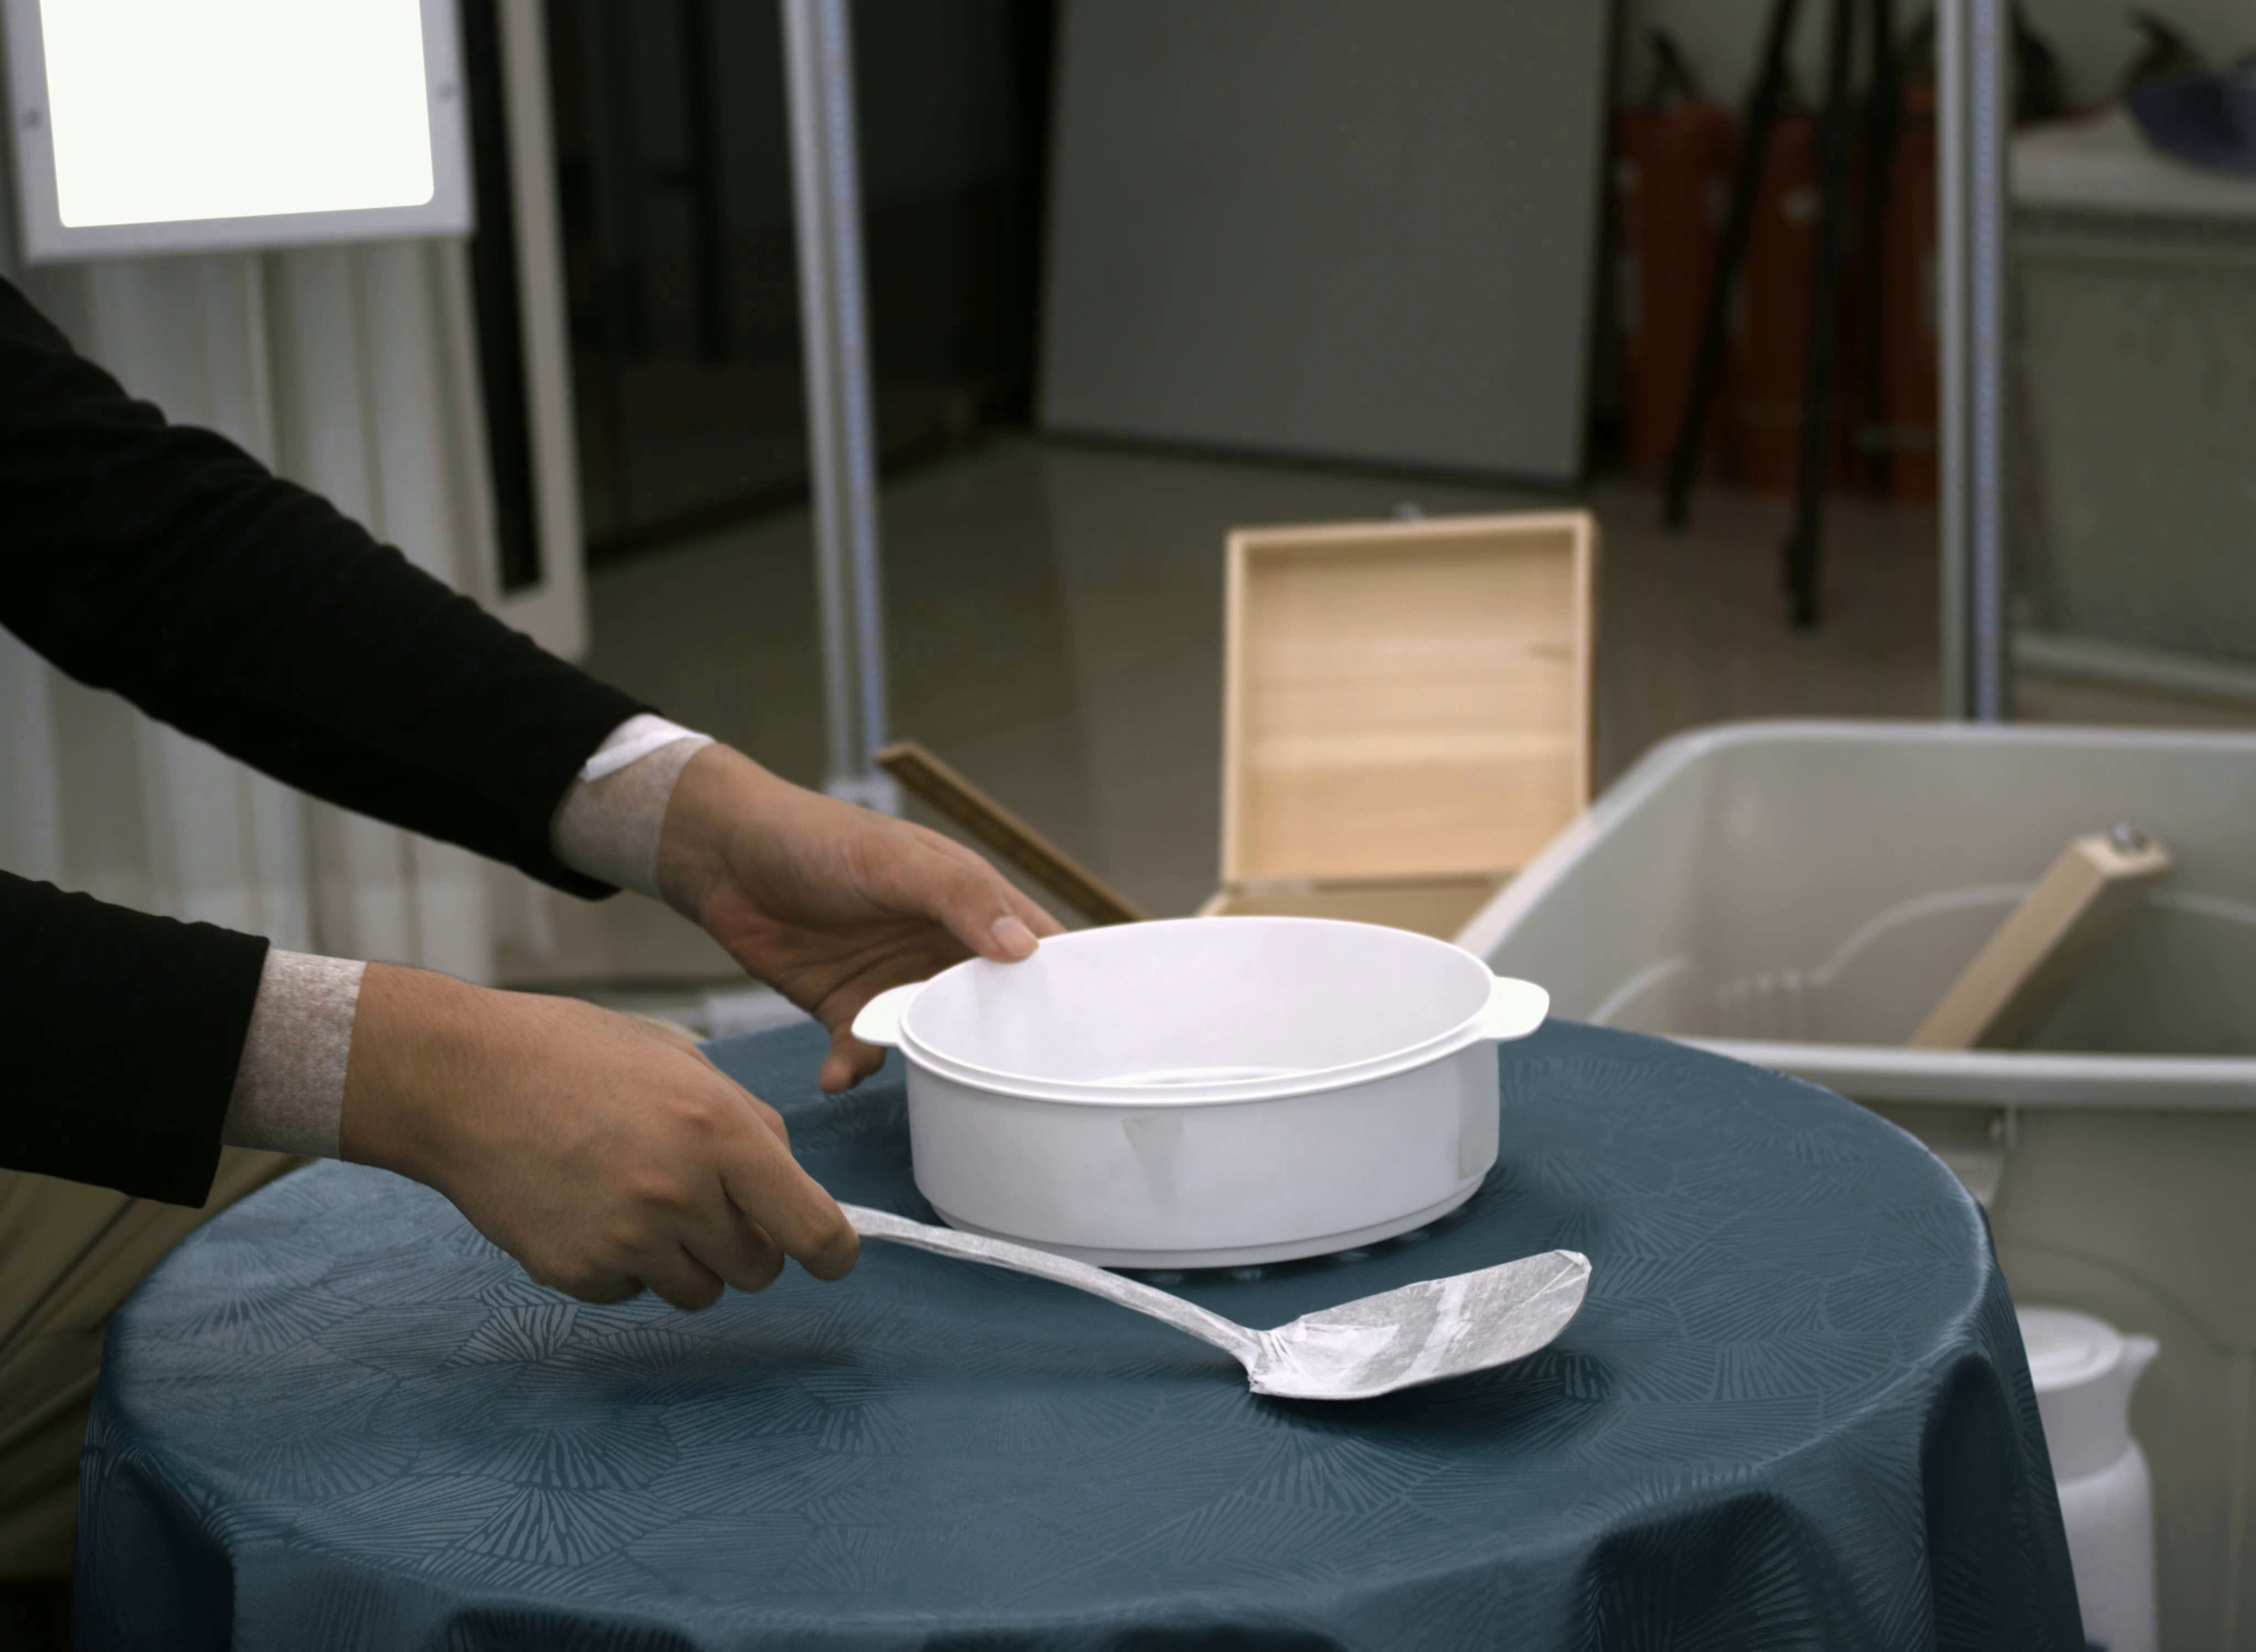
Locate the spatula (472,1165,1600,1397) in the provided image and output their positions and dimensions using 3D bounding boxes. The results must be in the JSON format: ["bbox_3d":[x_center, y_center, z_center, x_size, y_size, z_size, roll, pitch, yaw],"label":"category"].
[{"bbox_3d":[-0.038,0.125,1.619,0.364,0.045,0.098,10,21,19],"label":"spatula"}]

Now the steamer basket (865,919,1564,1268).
[{"bbox_3d":[0.030,0.086,1.755,0.229,0.070,0.201,-2,13,13],"label":"steamer basket"}]
